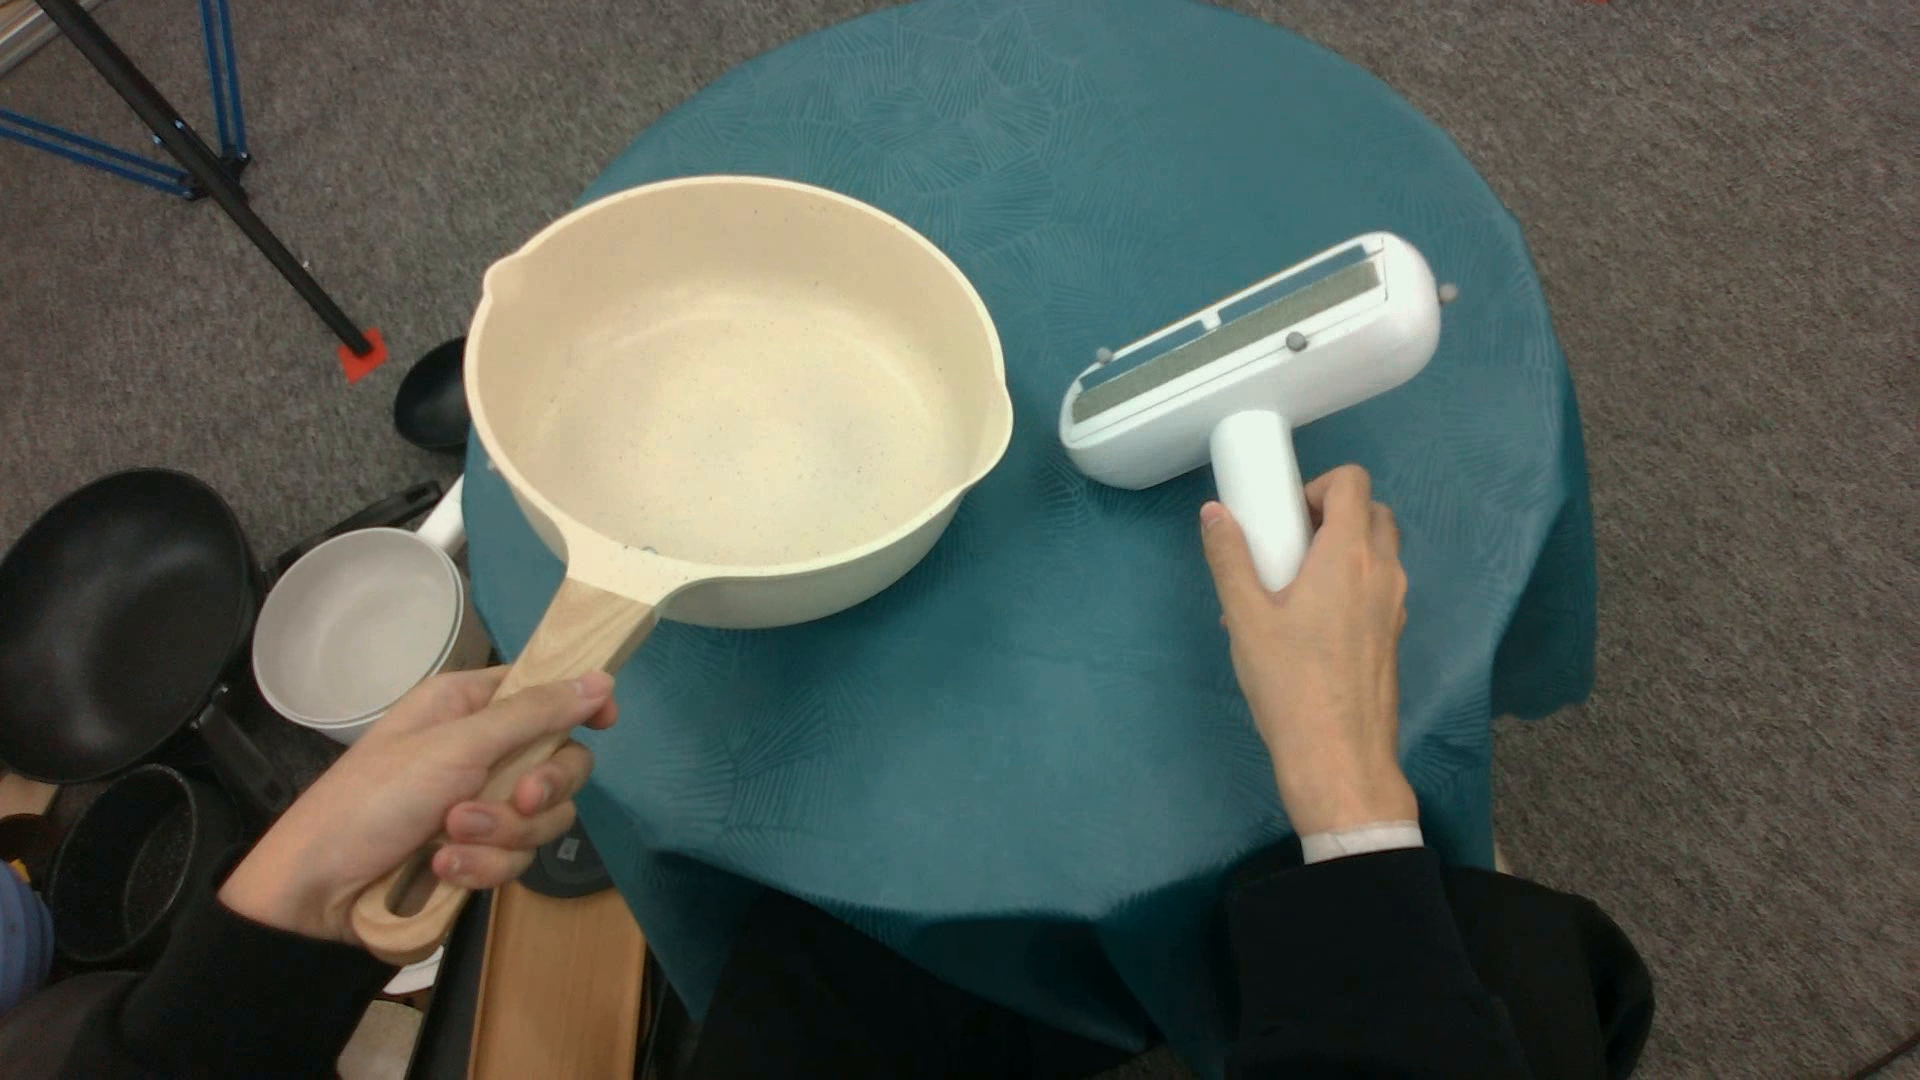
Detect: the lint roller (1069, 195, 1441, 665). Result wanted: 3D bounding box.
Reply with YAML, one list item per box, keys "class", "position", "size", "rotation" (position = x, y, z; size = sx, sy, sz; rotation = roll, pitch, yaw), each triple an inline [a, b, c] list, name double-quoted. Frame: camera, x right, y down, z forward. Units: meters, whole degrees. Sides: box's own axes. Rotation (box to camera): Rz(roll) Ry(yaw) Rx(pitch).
- class: "lint roller"
  position: [0.132, -0.041, 0.627]
  size: [0.192, 0.074, 0.193]
  rotation: [-17, 58, 41]

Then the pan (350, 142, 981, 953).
- class: "pan"
  position: [-0.148, -0.011, 0.624]
  size: [0.263, 0.101, 0.437]
  rotation: [20, 55, -1]
